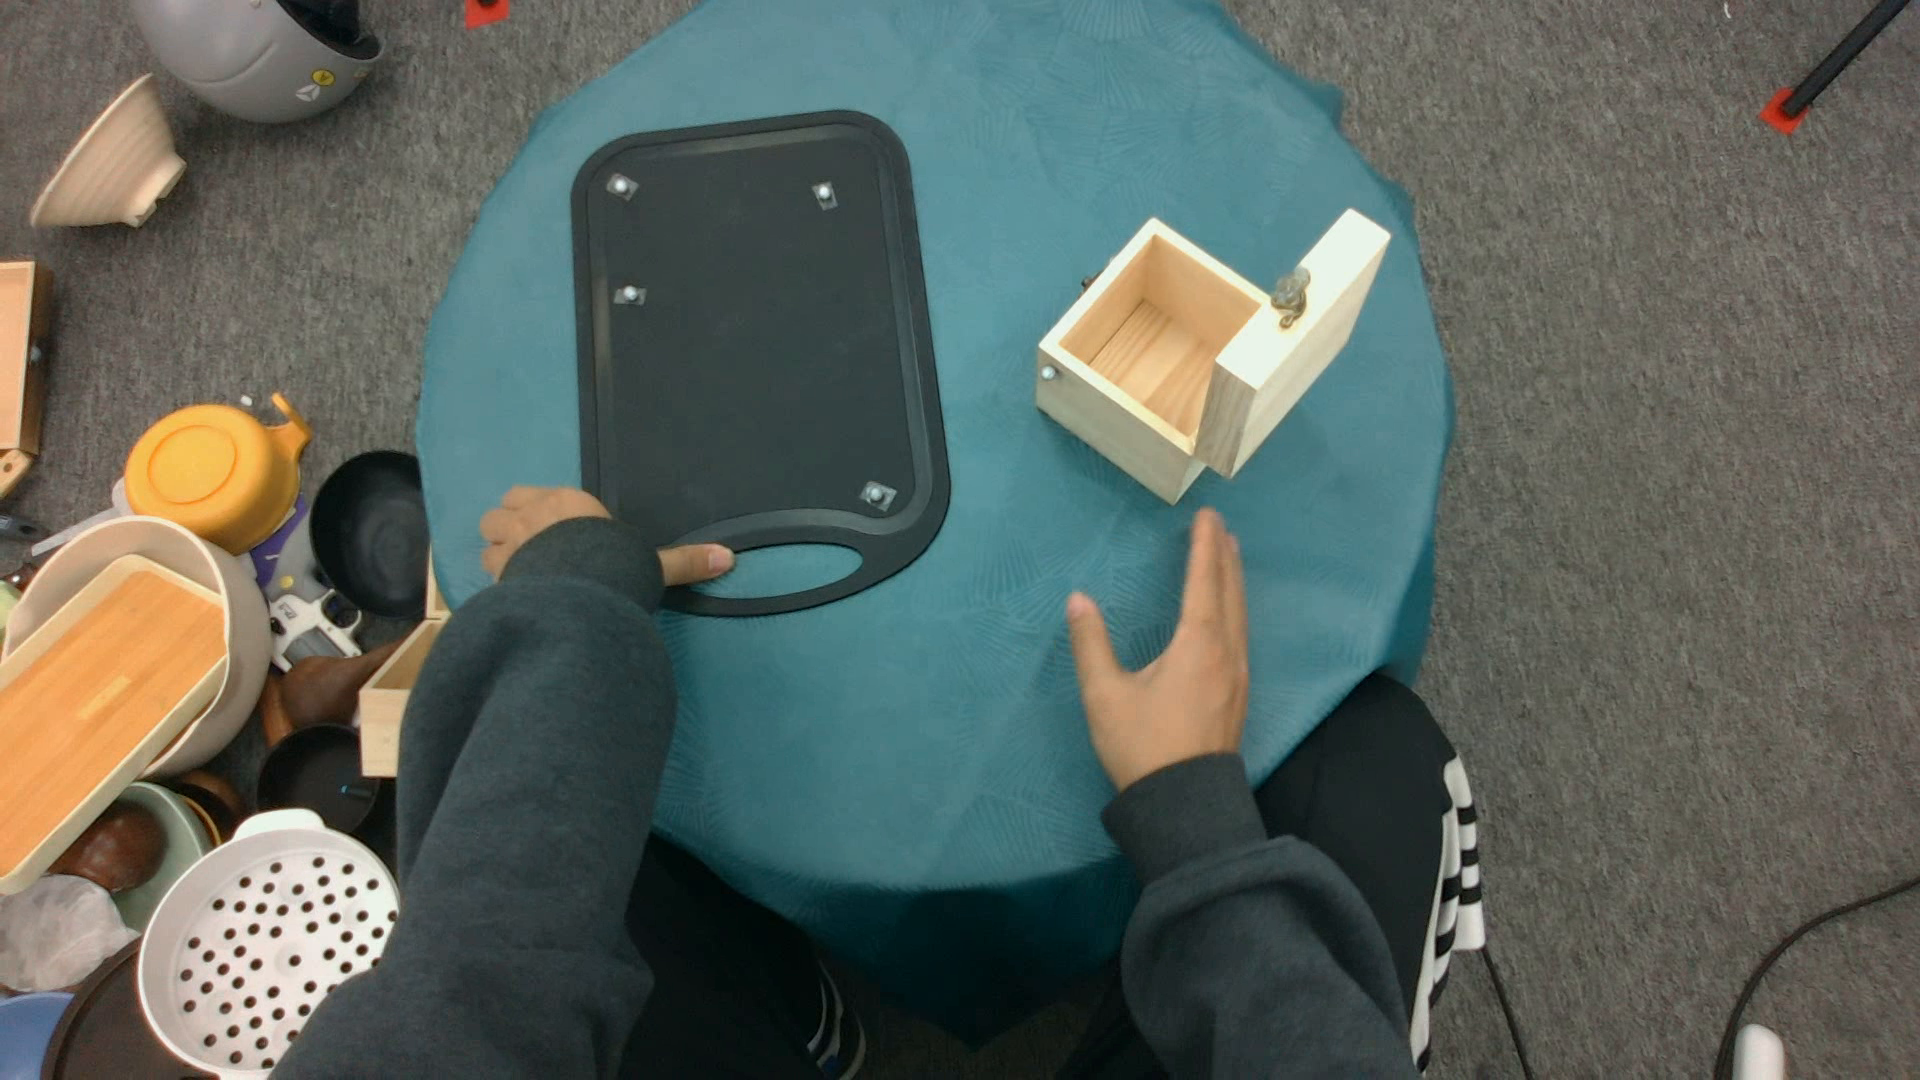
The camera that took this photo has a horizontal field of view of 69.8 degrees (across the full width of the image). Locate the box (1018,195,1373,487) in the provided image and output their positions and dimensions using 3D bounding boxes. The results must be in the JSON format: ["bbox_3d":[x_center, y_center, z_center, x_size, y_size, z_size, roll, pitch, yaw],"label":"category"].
[{"bbox_3d":[0.110,-0.119,0.712,0.134,0.184,0.103,37,75,12],"label":"box"}]

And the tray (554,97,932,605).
[{"bbox_3d":[-0.131,-0.119,0.810,0.211,0.010,0.326,-7,71,-2],"label":"tray"}]
